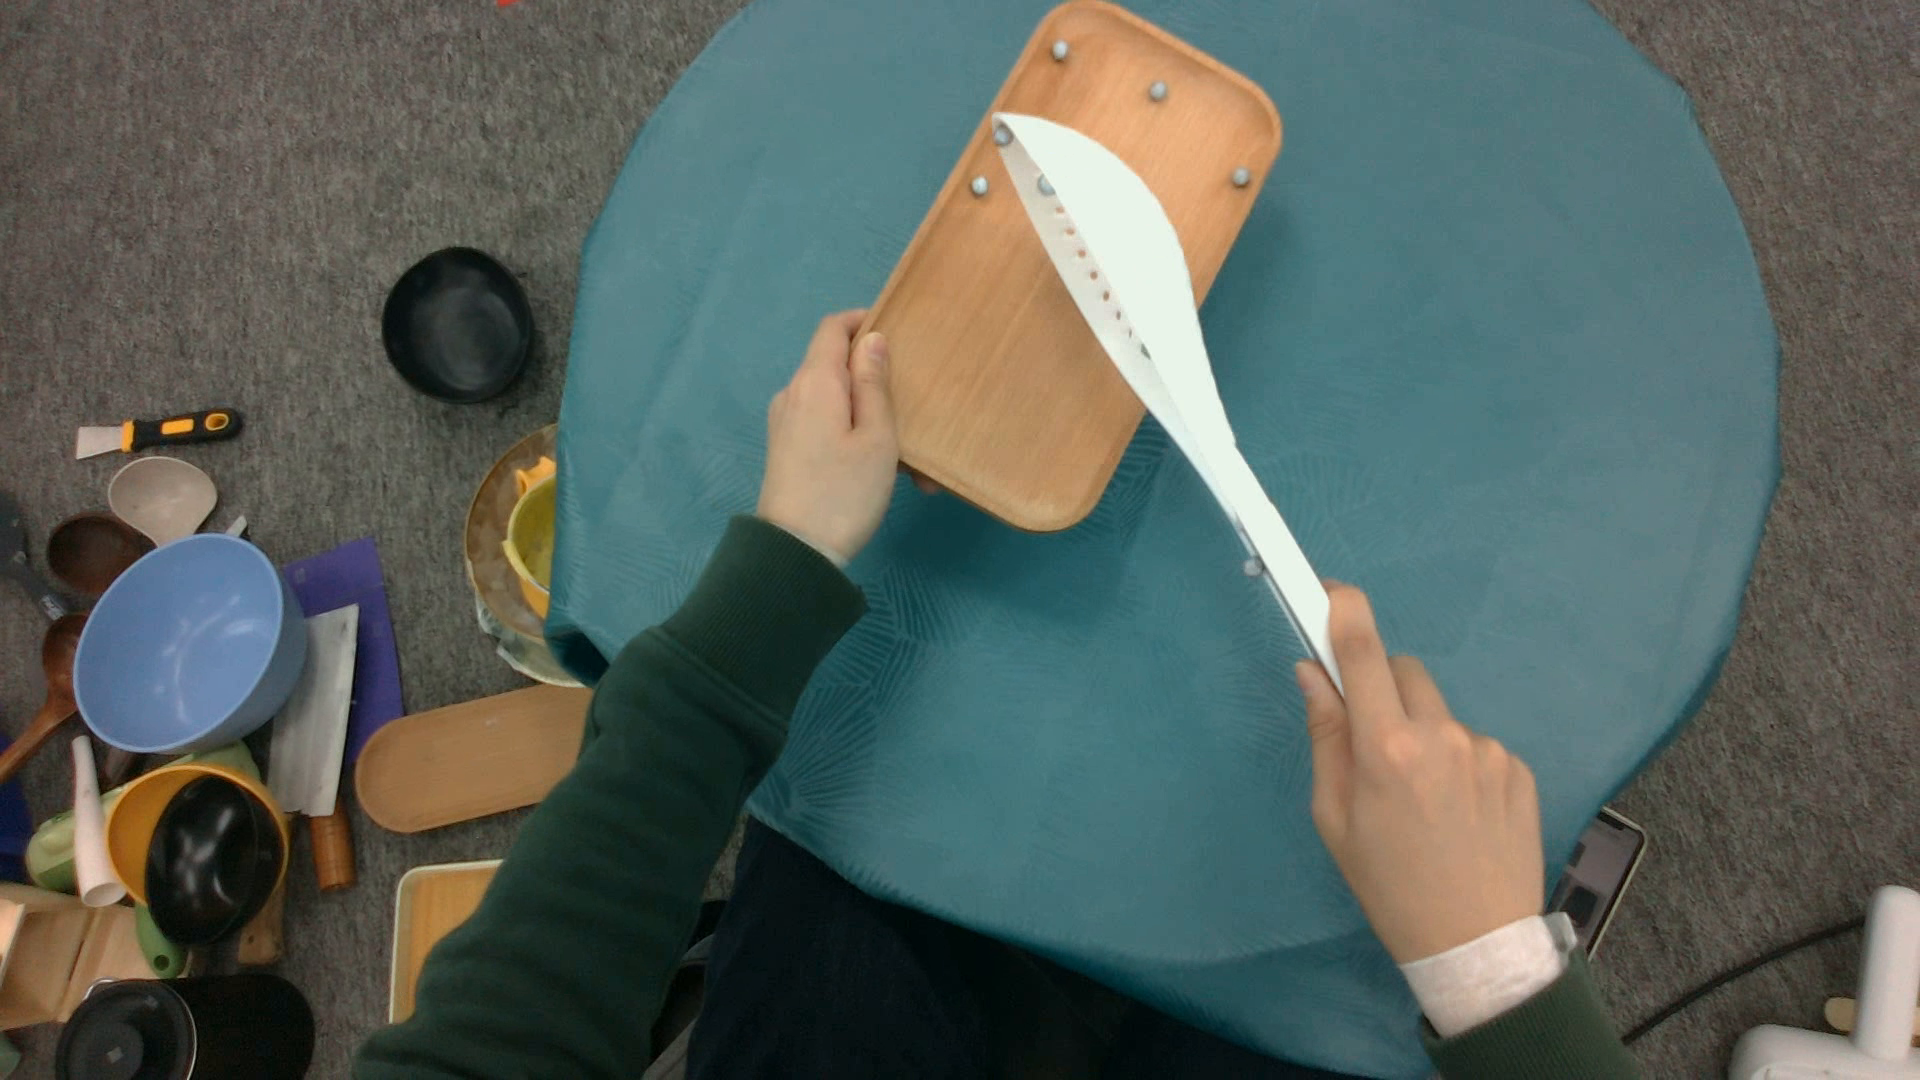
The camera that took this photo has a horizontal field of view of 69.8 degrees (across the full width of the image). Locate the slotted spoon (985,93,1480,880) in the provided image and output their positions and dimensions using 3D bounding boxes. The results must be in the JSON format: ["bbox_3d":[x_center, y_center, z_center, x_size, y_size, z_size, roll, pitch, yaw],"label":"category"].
[{"bbox_3d":[0.103,-0.027,0.537,0.046,0.136,0.350,-25,82,4],"label":"slotted spoon"}]

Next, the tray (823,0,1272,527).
[{"bbox_3d":[0.044,-0.131,0.625,0.130,0.023,0.251,29,74,1],"label":"tray"}]
